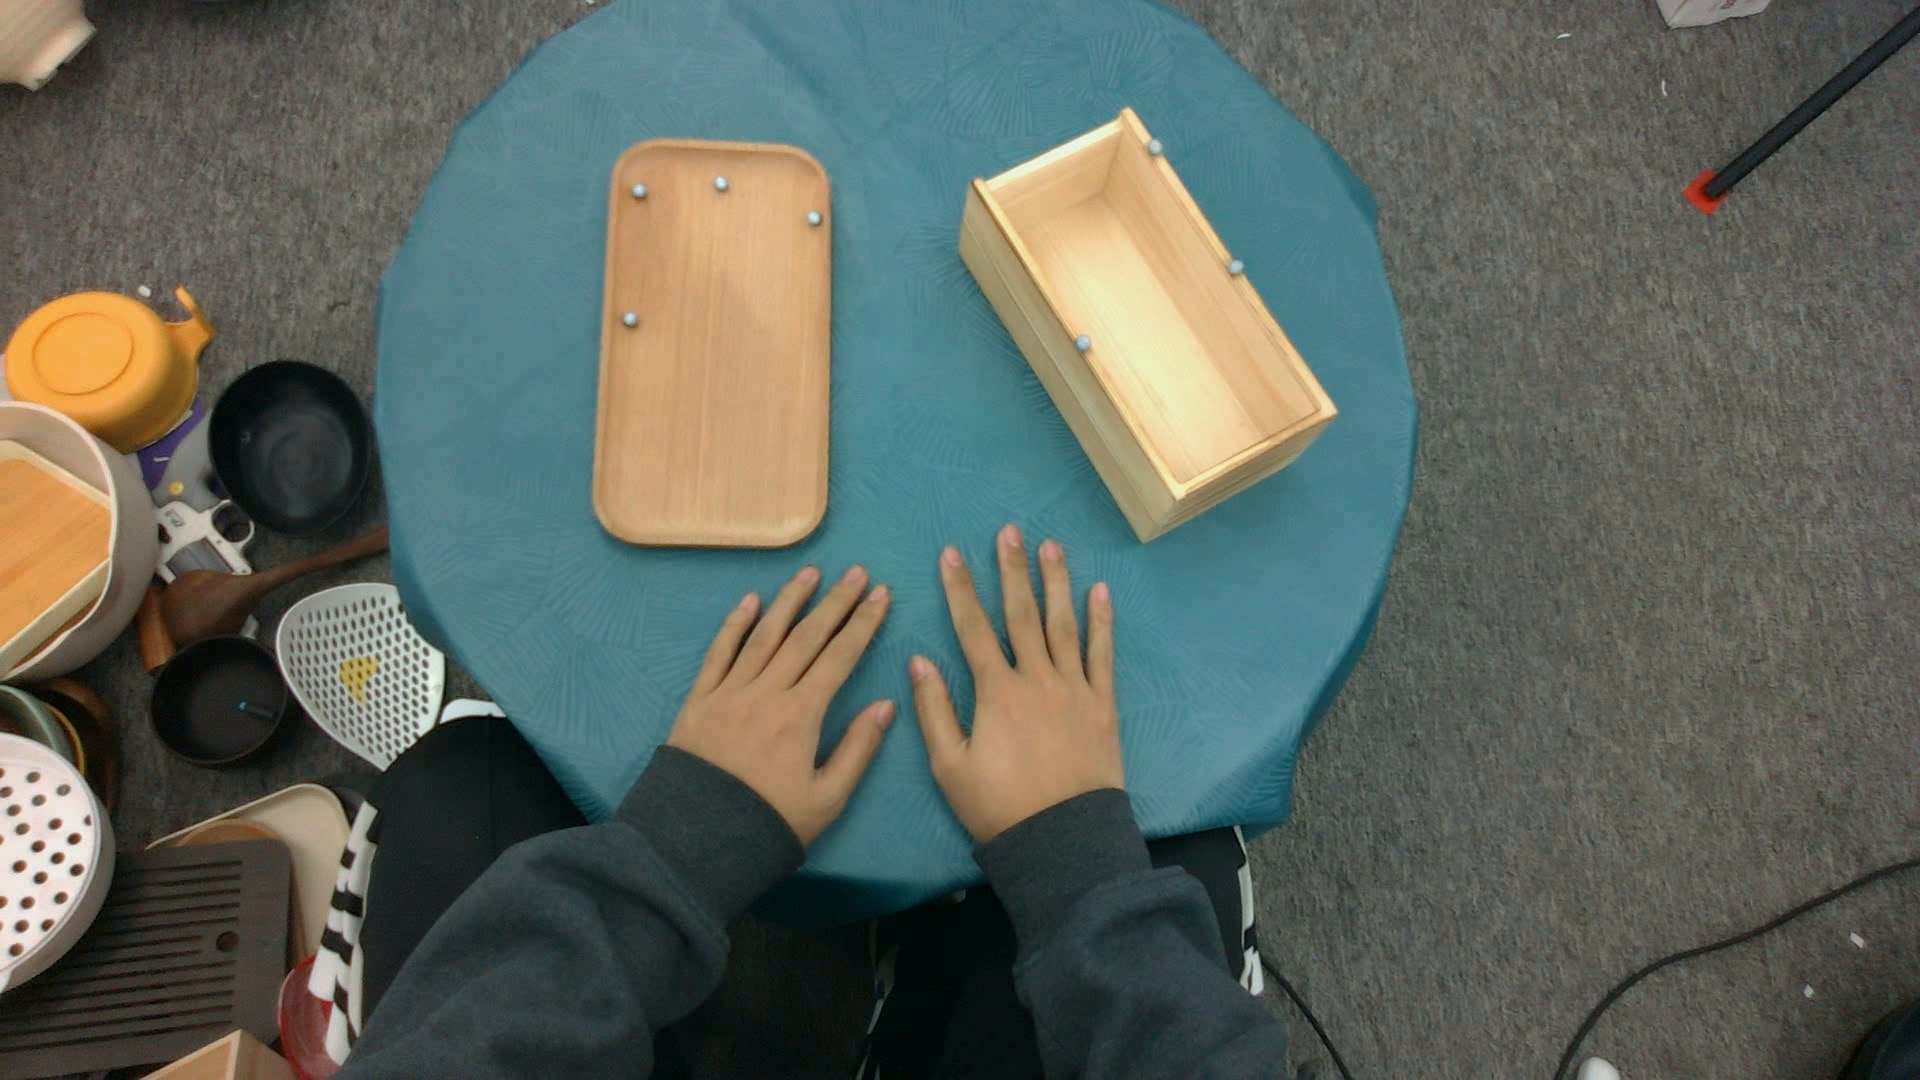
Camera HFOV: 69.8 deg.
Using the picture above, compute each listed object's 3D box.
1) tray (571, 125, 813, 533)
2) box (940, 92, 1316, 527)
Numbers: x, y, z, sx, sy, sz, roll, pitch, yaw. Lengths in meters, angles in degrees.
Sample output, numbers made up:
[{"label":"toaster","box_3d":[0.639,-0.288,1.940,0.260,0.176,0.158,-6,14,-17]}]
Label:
[{"label":"tray","box_3d":[-0.148,-0.123,0.781,0.130,0.023,0.251,0,73,-4]},{"label":"box","box_3d":[0.089,-0.129,0.778,0.108,0.080,0.211,-28,78,-14]}]
